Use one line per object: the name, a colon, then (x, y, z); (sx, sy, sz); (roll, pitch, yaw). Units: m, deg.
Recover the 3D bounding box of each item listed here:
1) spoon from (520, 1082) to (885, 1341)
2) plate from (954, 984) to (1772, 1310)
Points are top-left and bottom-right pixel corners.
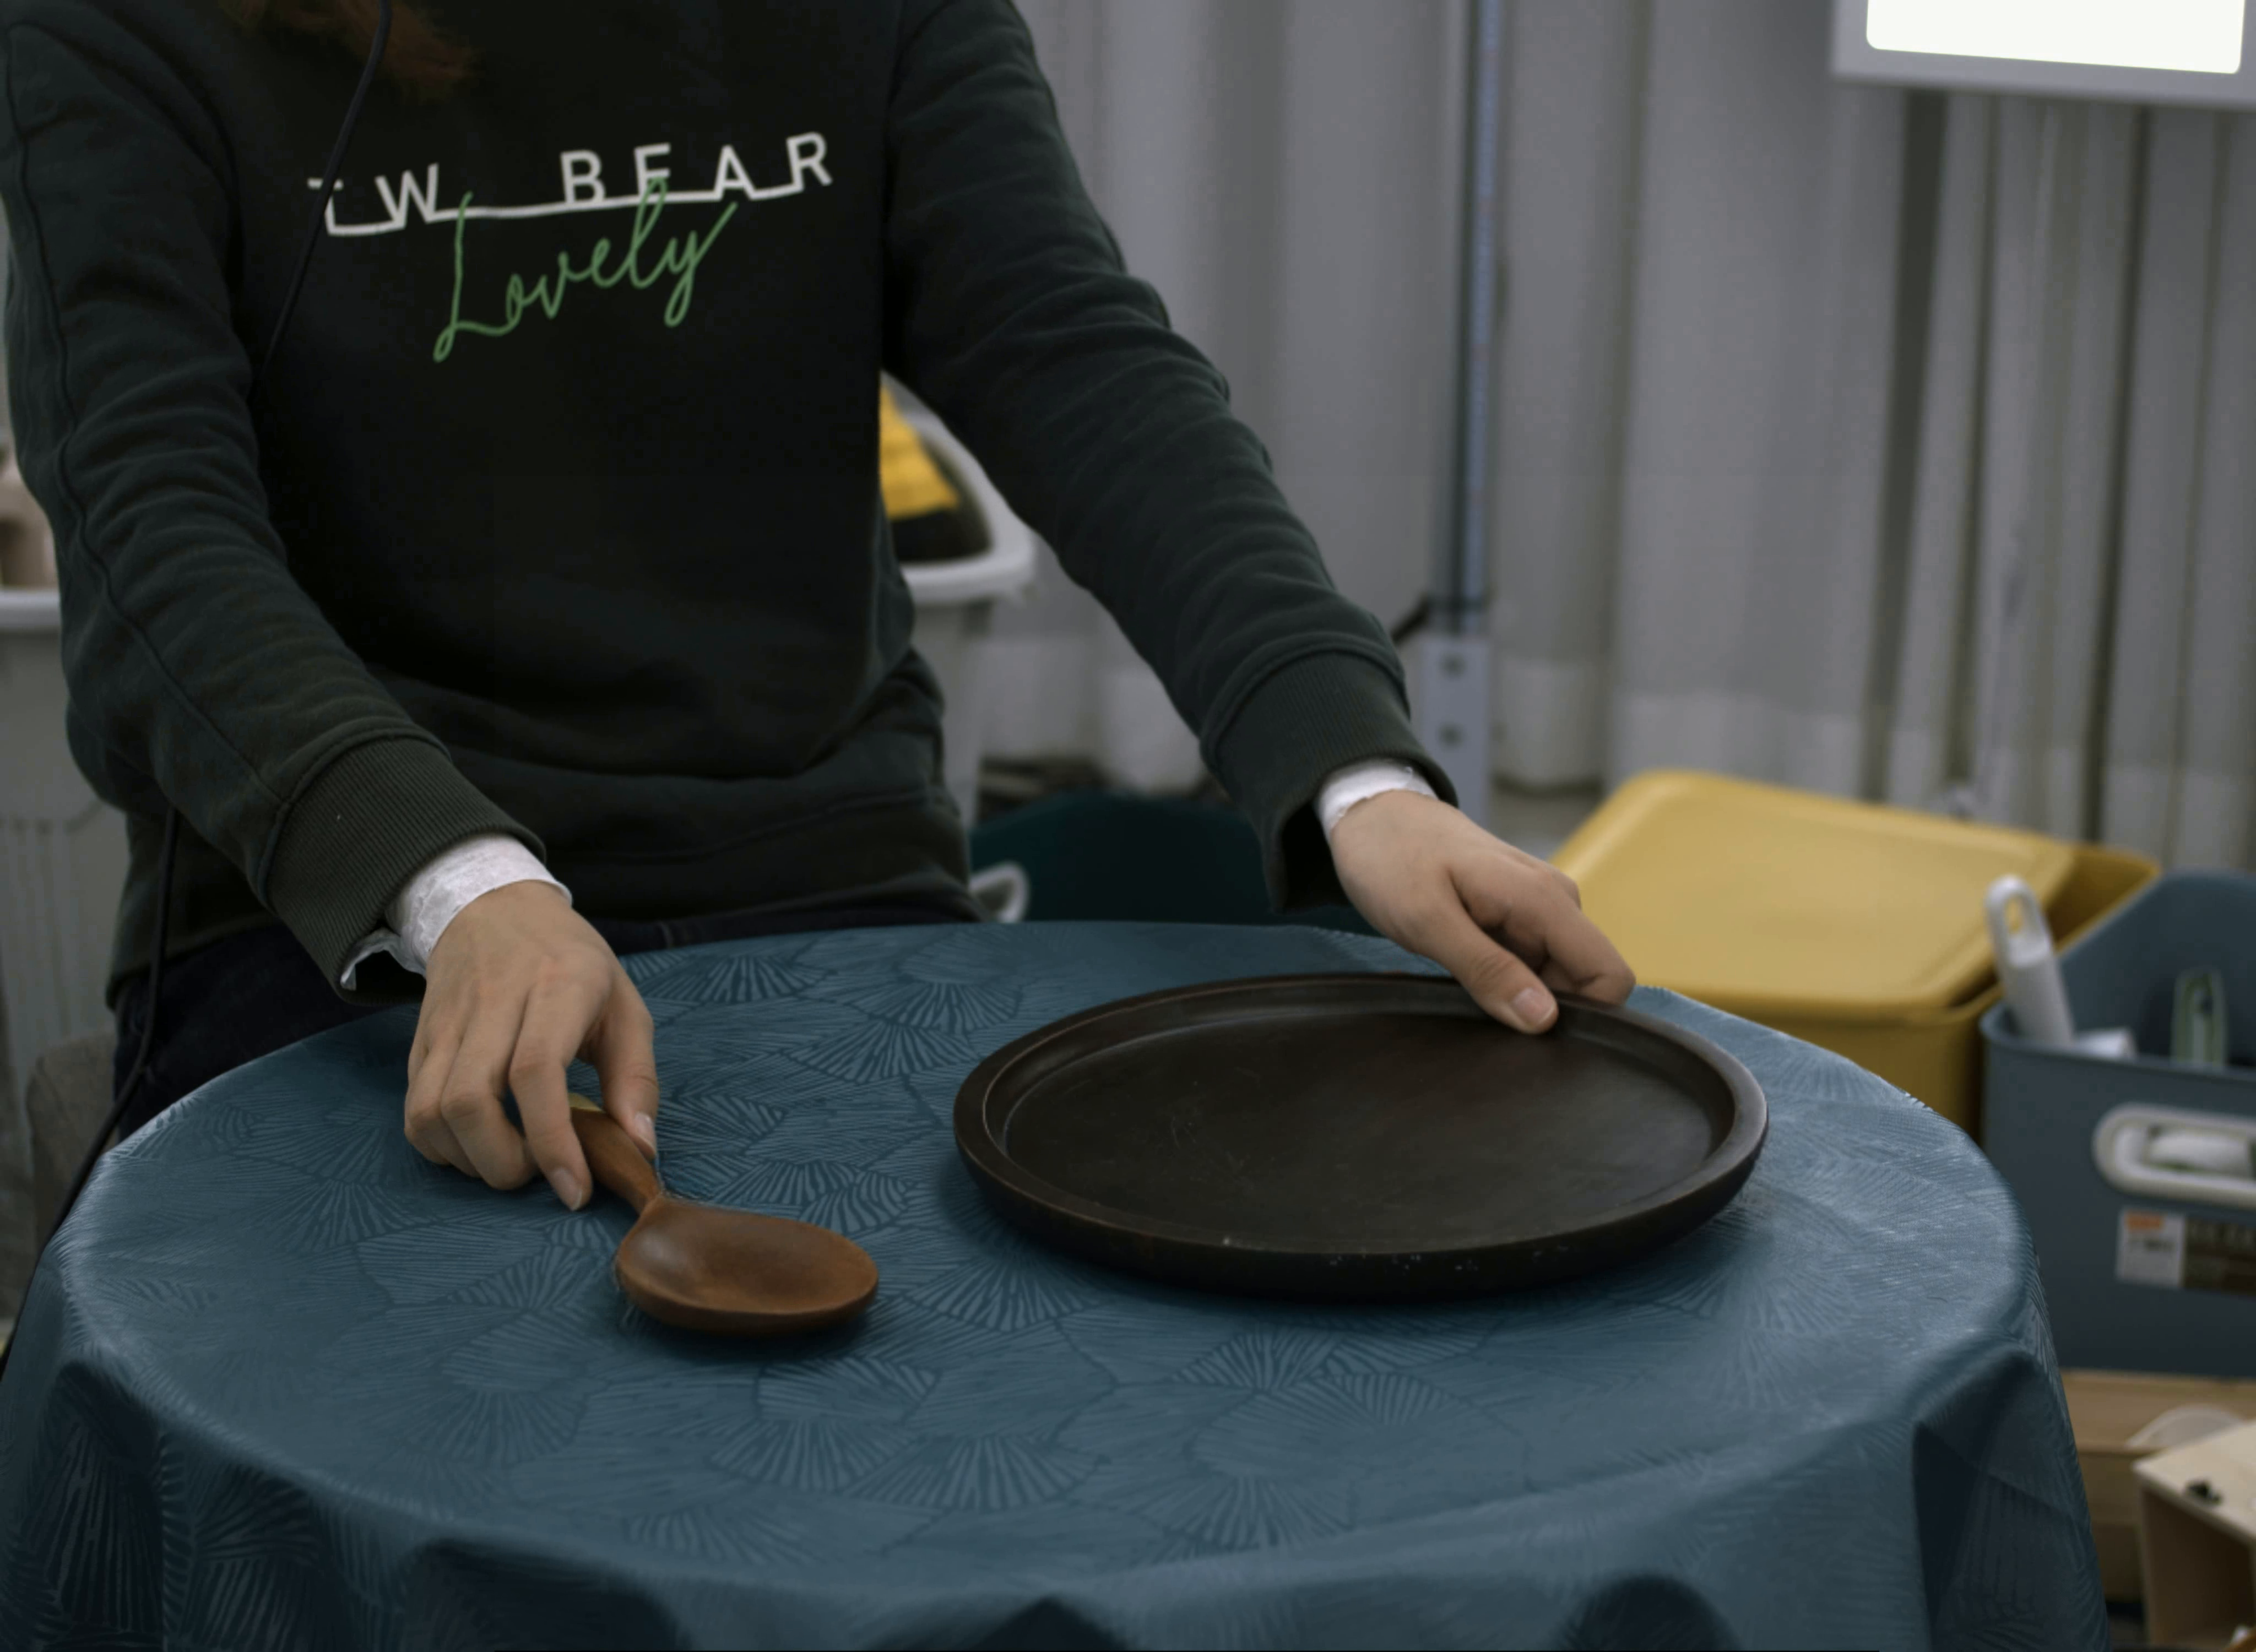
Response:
spoon: (-0.137, 0.116, 1.574); (0.076, 0.017, 0.213); (-6, 18, -25)
plate: (0.072, 0.097, 1.636); (0.254, 0.029, 0.253); (1, 18, 0)
